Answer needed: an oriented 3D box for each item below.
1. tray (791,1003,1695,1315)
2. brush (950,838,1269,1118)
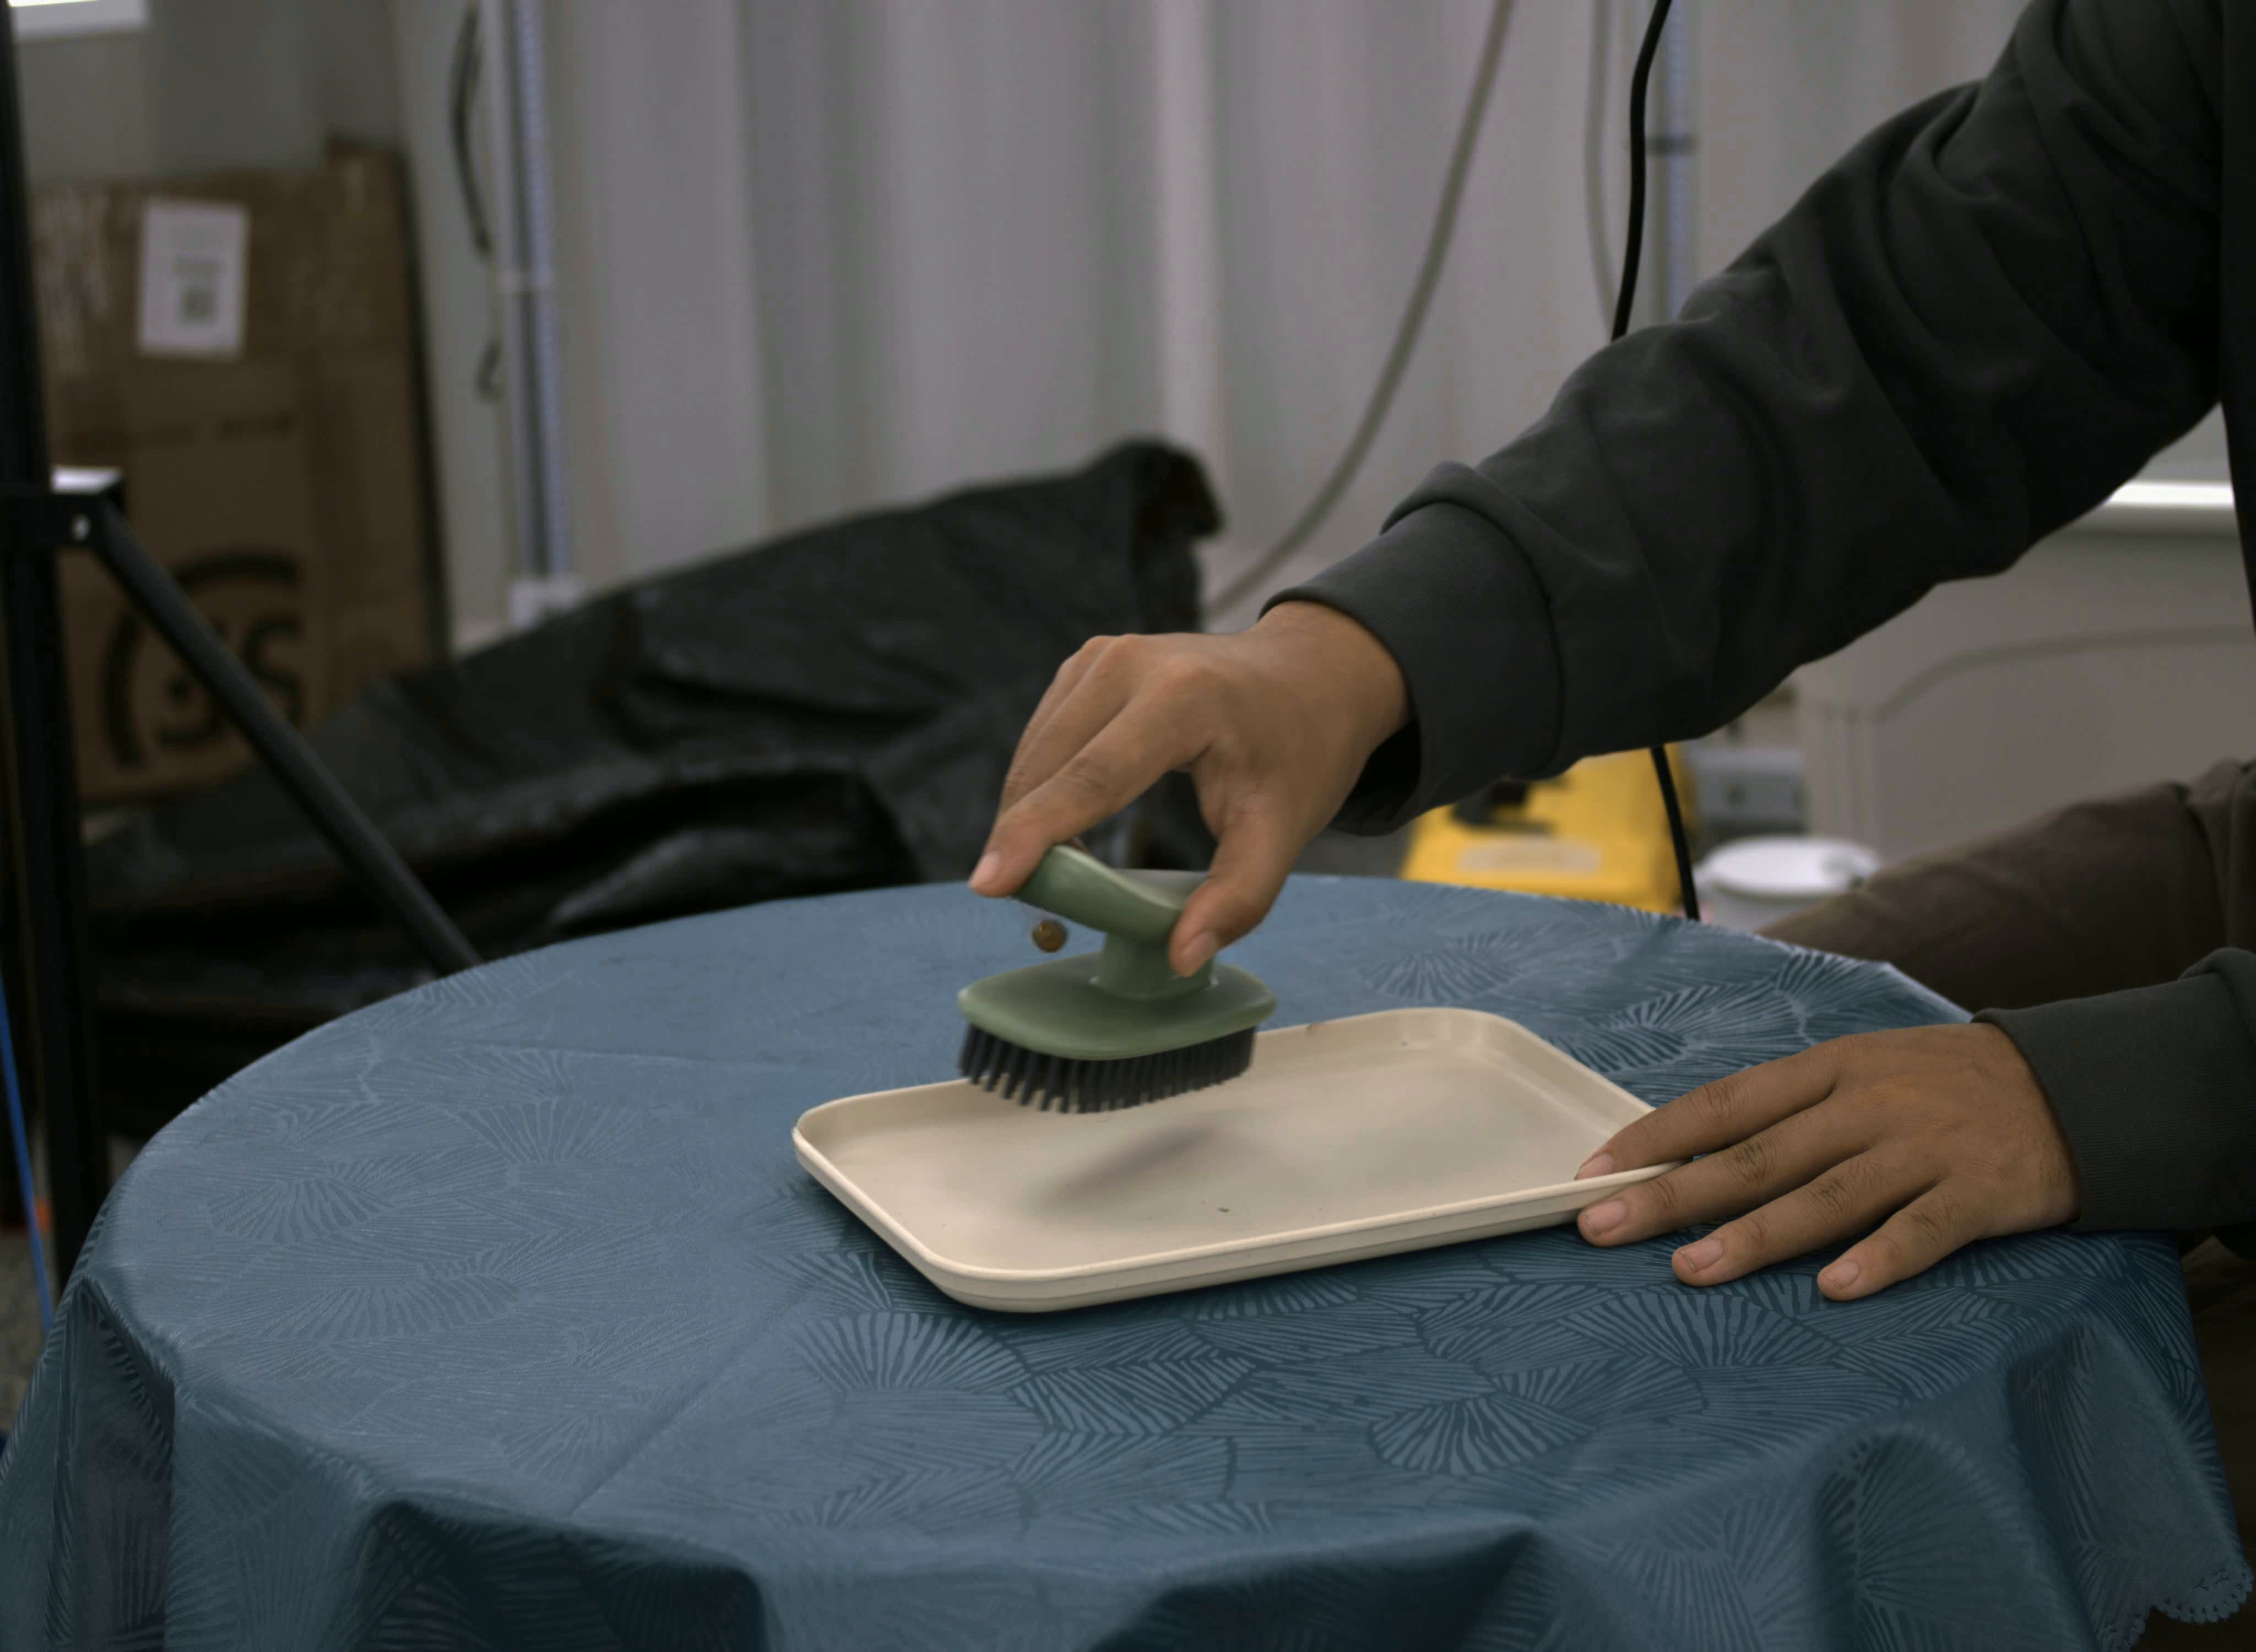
[{"bbox_3d":[0.033,0.097,1.557,0.235,0.017,0.174,-8,17,-20],"label":"tray"},{"bbox_3d":[-0.004,0.048,1.555,0.061,0.076,0.120,22,5,31],"label":"brush"}]
